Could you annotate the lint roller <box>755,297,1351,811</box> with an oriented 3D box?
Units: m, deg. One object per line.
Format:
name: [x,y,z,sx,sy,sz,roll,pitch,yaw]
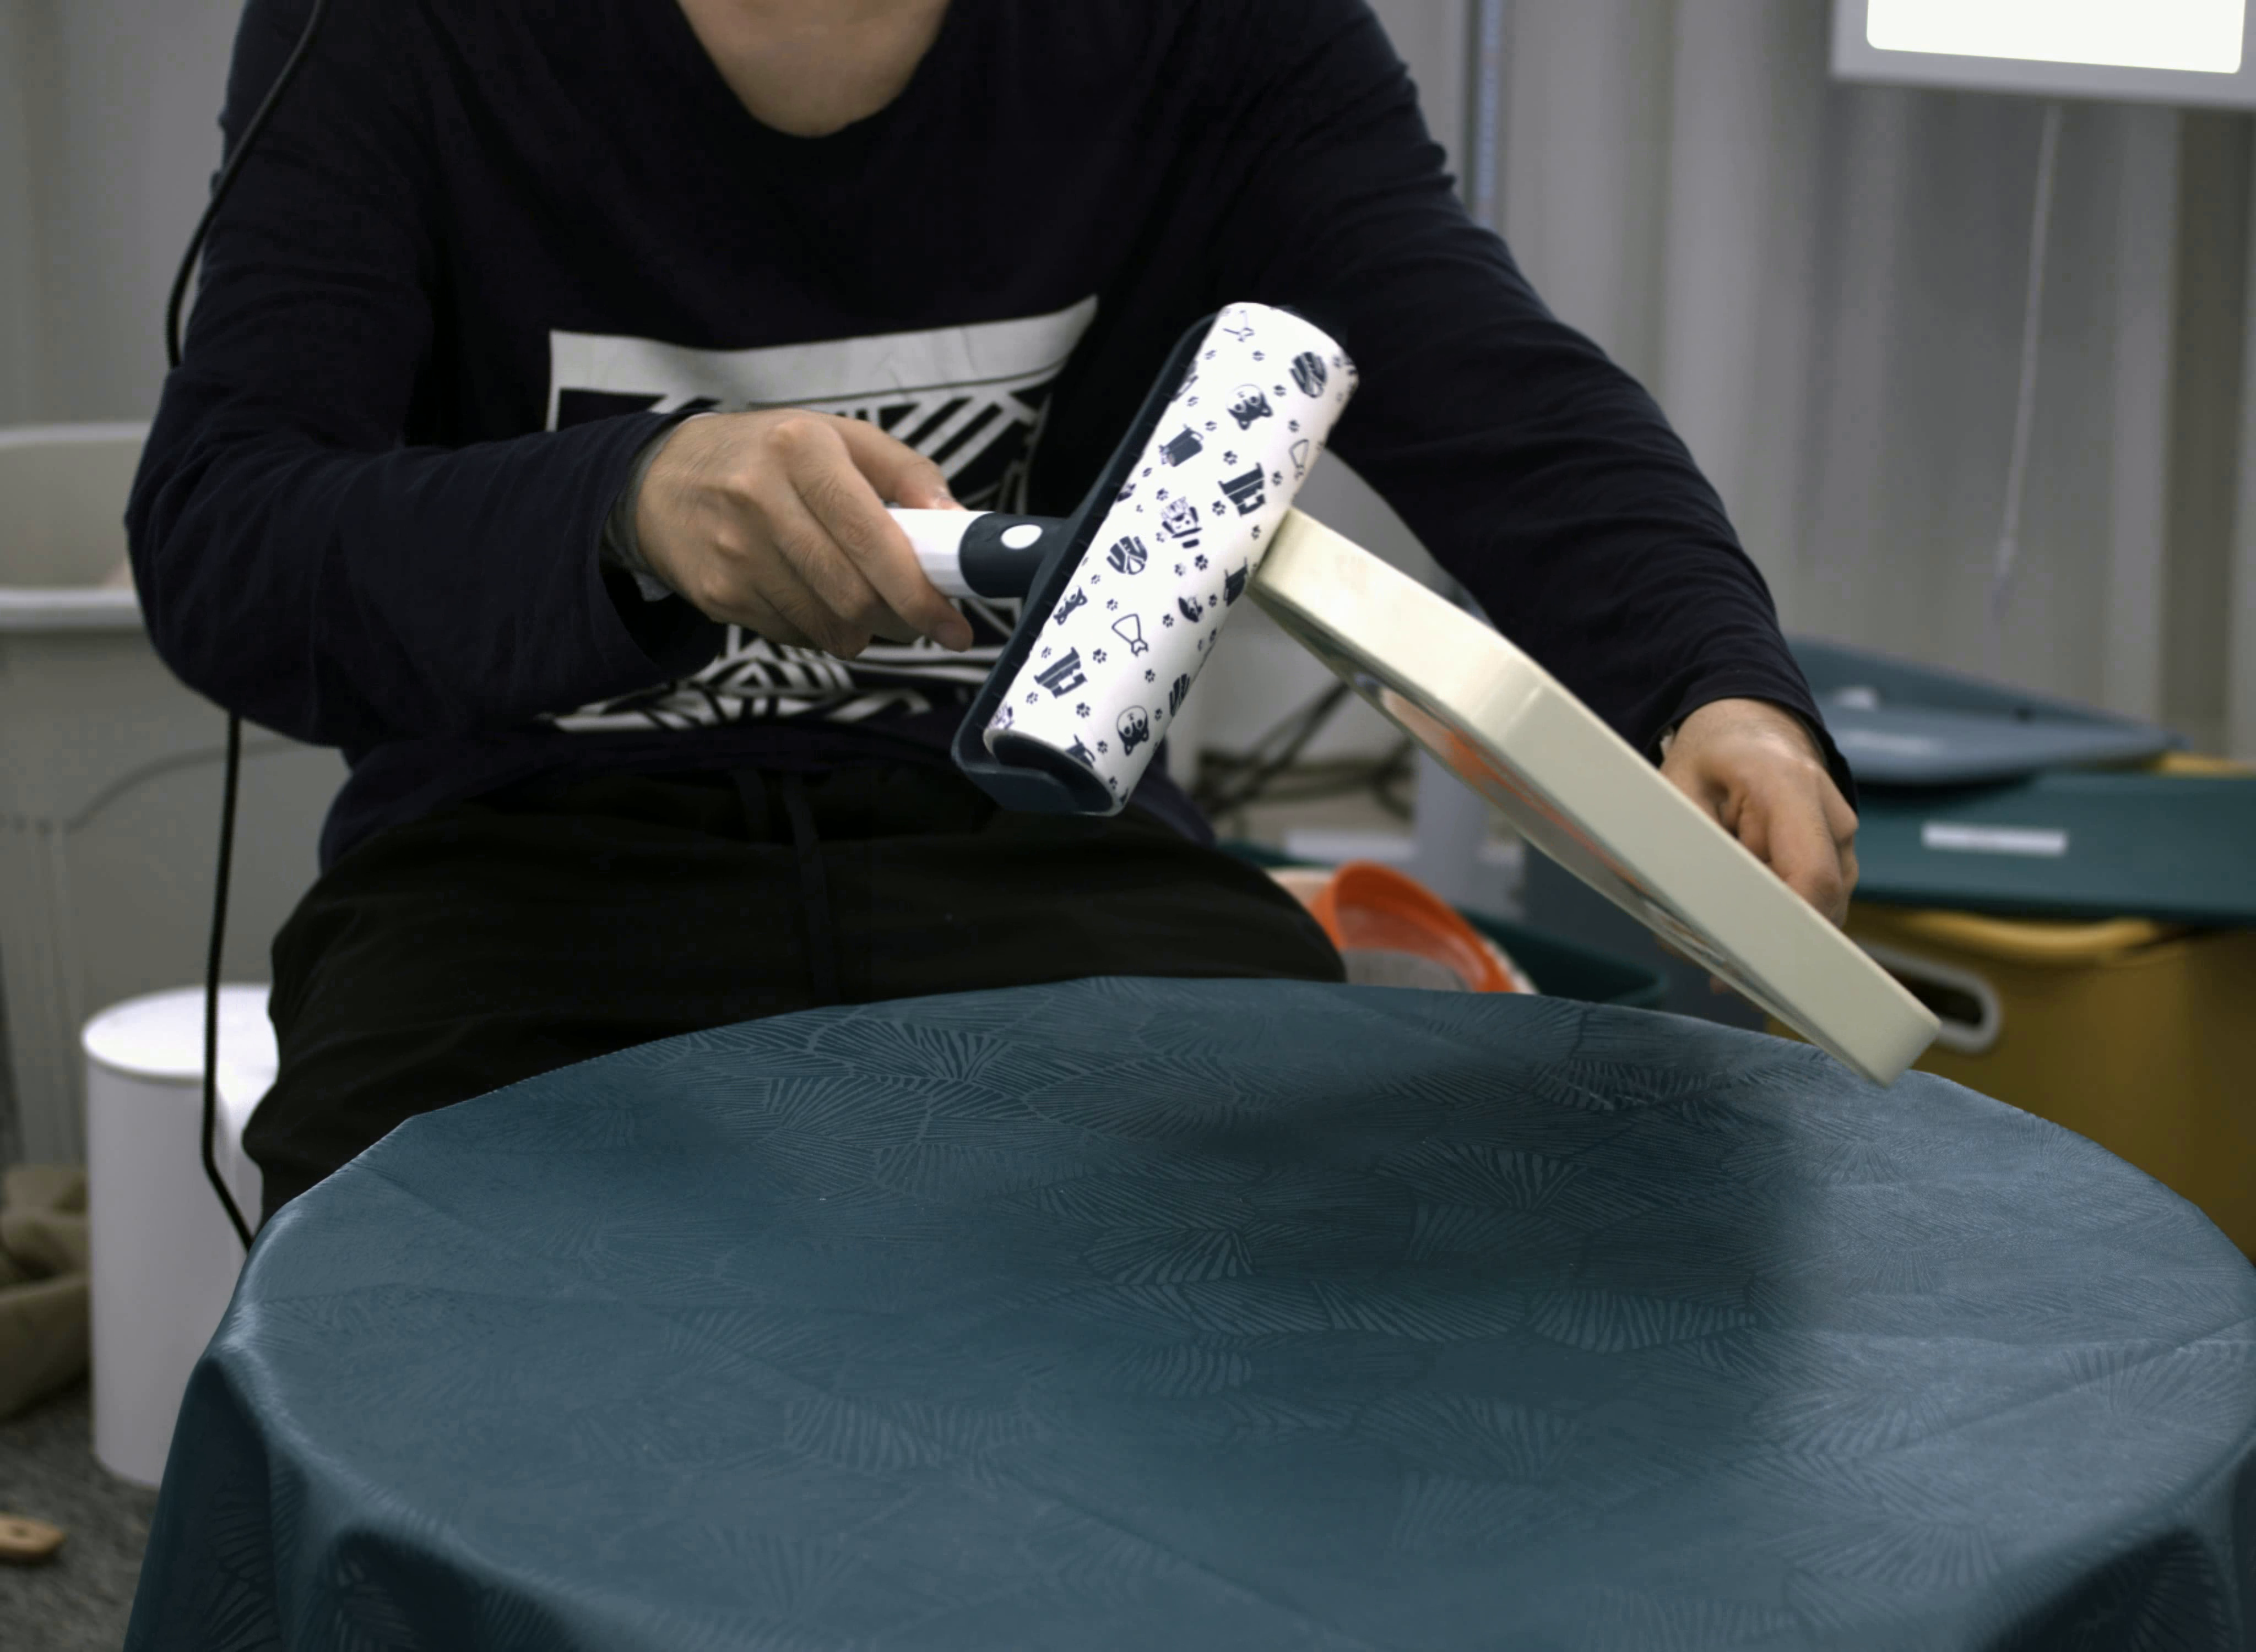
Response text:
lint roller: [-0.050,-0.086,1.665,0.244,0.176,0.051,4,-31,51]

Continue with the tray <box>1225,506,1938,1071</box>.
tray: [0.119,-0.023,1.606,0.193,0.027,0.297,37,1,-21]
